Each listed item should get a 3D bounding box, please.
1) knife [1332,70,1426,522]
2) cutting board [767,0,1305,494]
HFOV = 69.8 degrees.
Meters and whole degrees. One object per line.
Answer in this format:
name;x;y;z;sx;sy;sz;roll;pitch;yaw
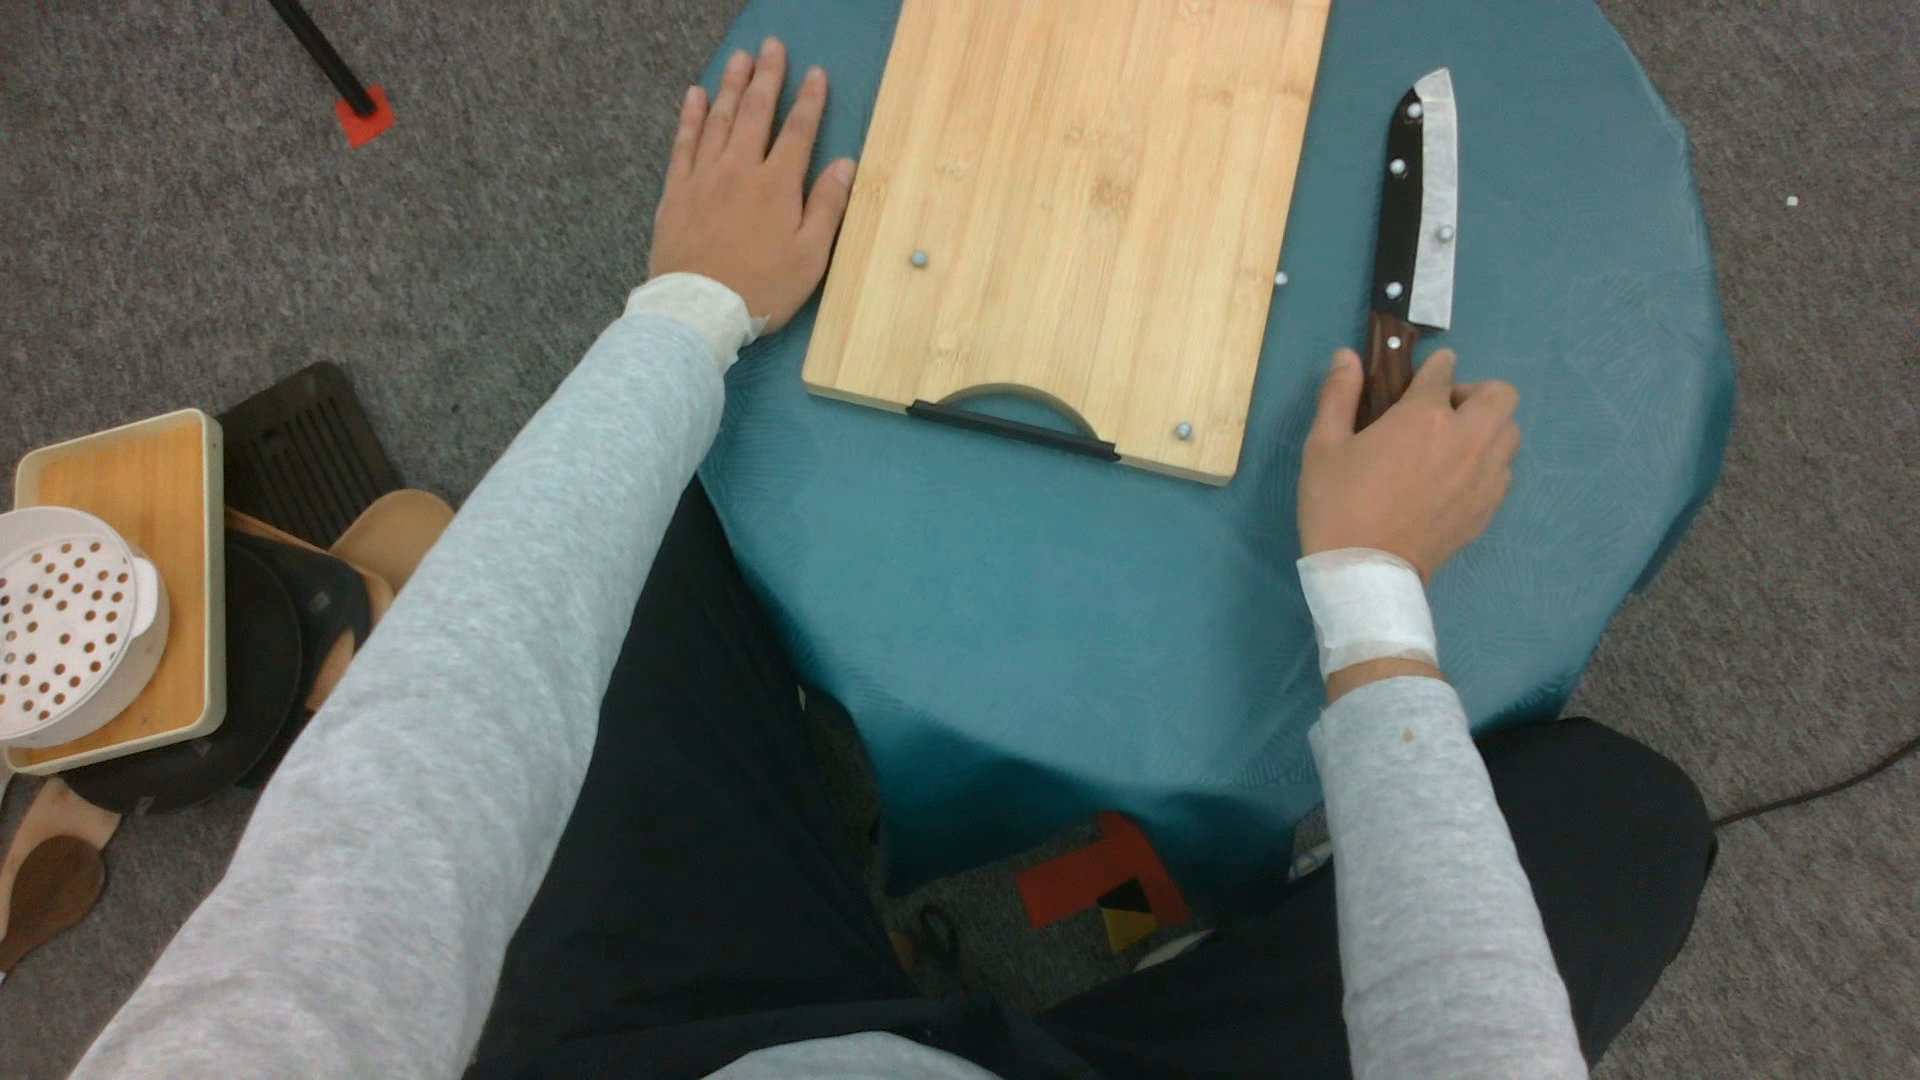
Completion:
knife;0.237;-0.144;0.774;0.050;0.020;0.290;13;72;-5
cutting board;0.053;-0.214;0.786;0.251;0.023;0.349;12;75;2
